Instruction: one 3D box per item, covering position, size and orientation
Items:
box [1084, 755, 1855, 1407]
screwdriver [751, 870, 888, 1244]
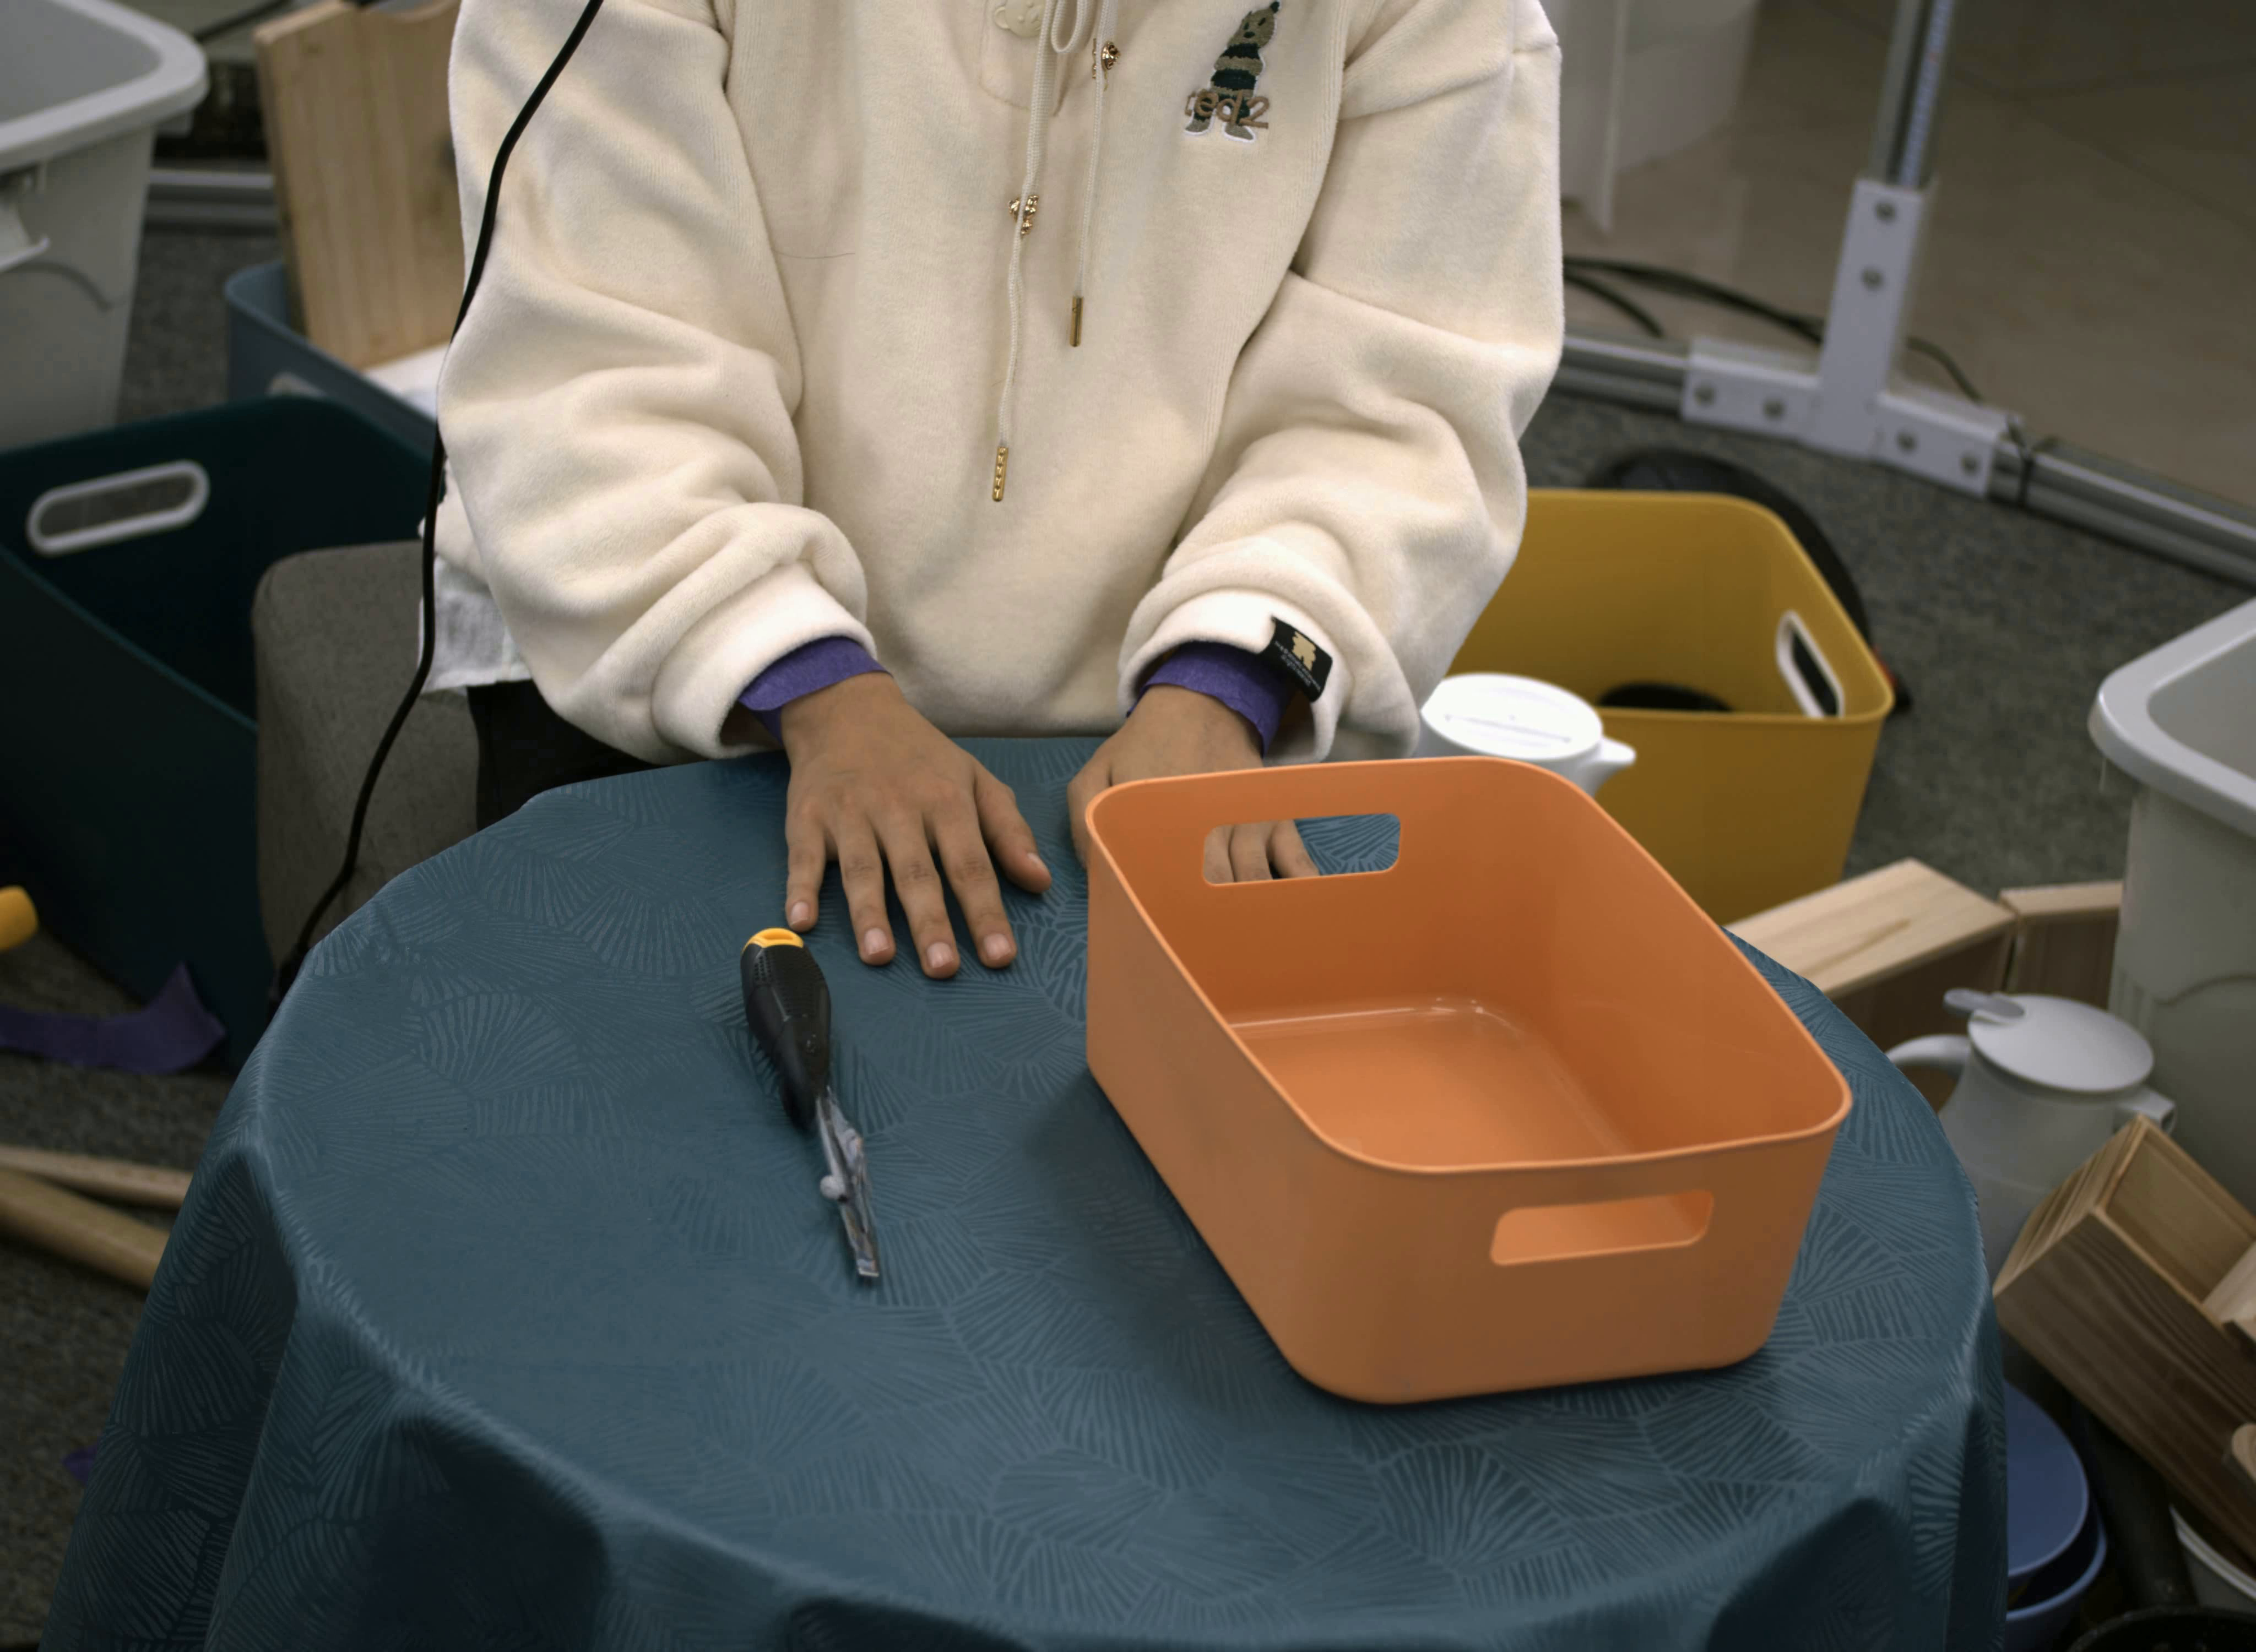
[{"bbox_3d":[0.105,0.084,1.790,0.198,0.102,0.275,-5,29,-20],"label":"box"},{"bbox_3d":[-0.099,0.080,1.816,0.031,0.031,0.200,-2,37,-17],"label":"screwdriver"}]
